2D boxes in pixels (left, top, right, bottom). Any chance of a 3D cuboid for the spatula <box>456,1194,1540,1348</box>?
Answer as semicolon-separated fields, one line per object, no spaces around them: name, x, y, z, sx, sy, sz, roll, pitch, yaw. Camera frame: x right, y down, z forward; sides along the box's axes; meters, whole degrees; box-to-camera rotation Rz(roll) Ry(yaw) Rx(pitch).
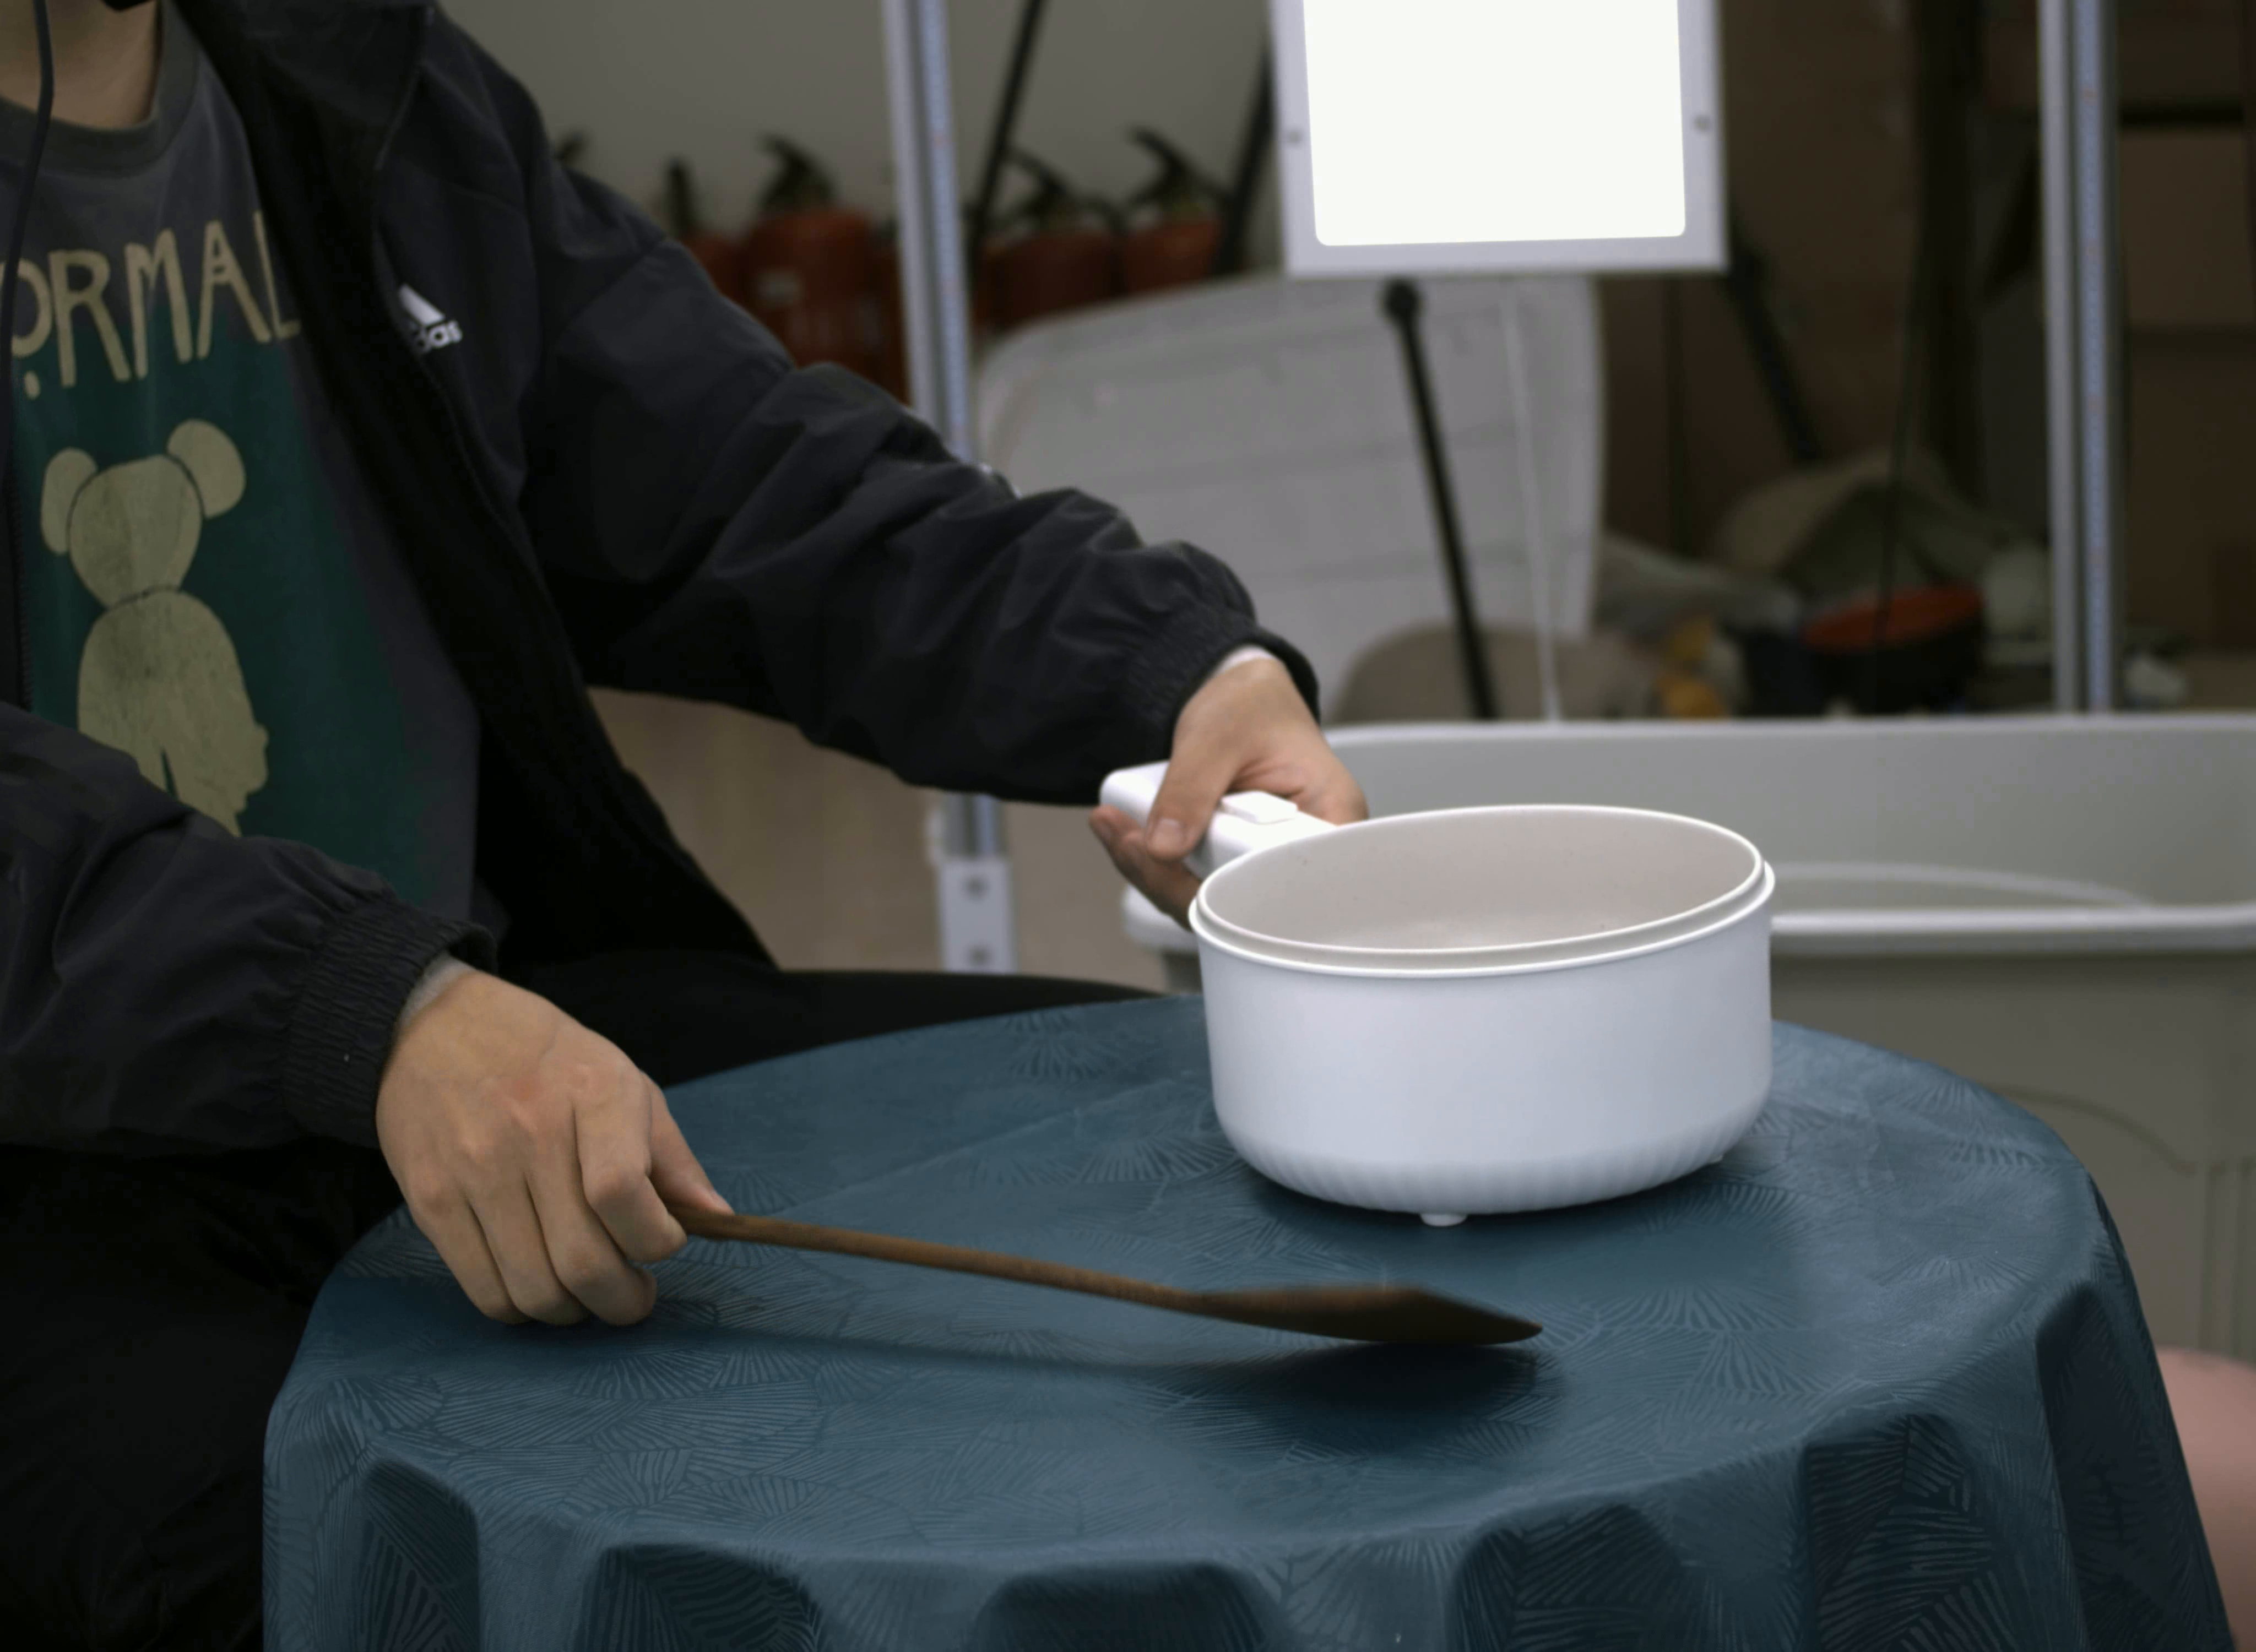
spatula;-0.053;0.141;1.752;0.393;0.016;0.094;5;-5;30

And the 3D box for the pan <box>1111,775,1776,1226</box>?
pan;0.090;0.055;1.959;0.197;0.102;0.361;-12;14;-24
